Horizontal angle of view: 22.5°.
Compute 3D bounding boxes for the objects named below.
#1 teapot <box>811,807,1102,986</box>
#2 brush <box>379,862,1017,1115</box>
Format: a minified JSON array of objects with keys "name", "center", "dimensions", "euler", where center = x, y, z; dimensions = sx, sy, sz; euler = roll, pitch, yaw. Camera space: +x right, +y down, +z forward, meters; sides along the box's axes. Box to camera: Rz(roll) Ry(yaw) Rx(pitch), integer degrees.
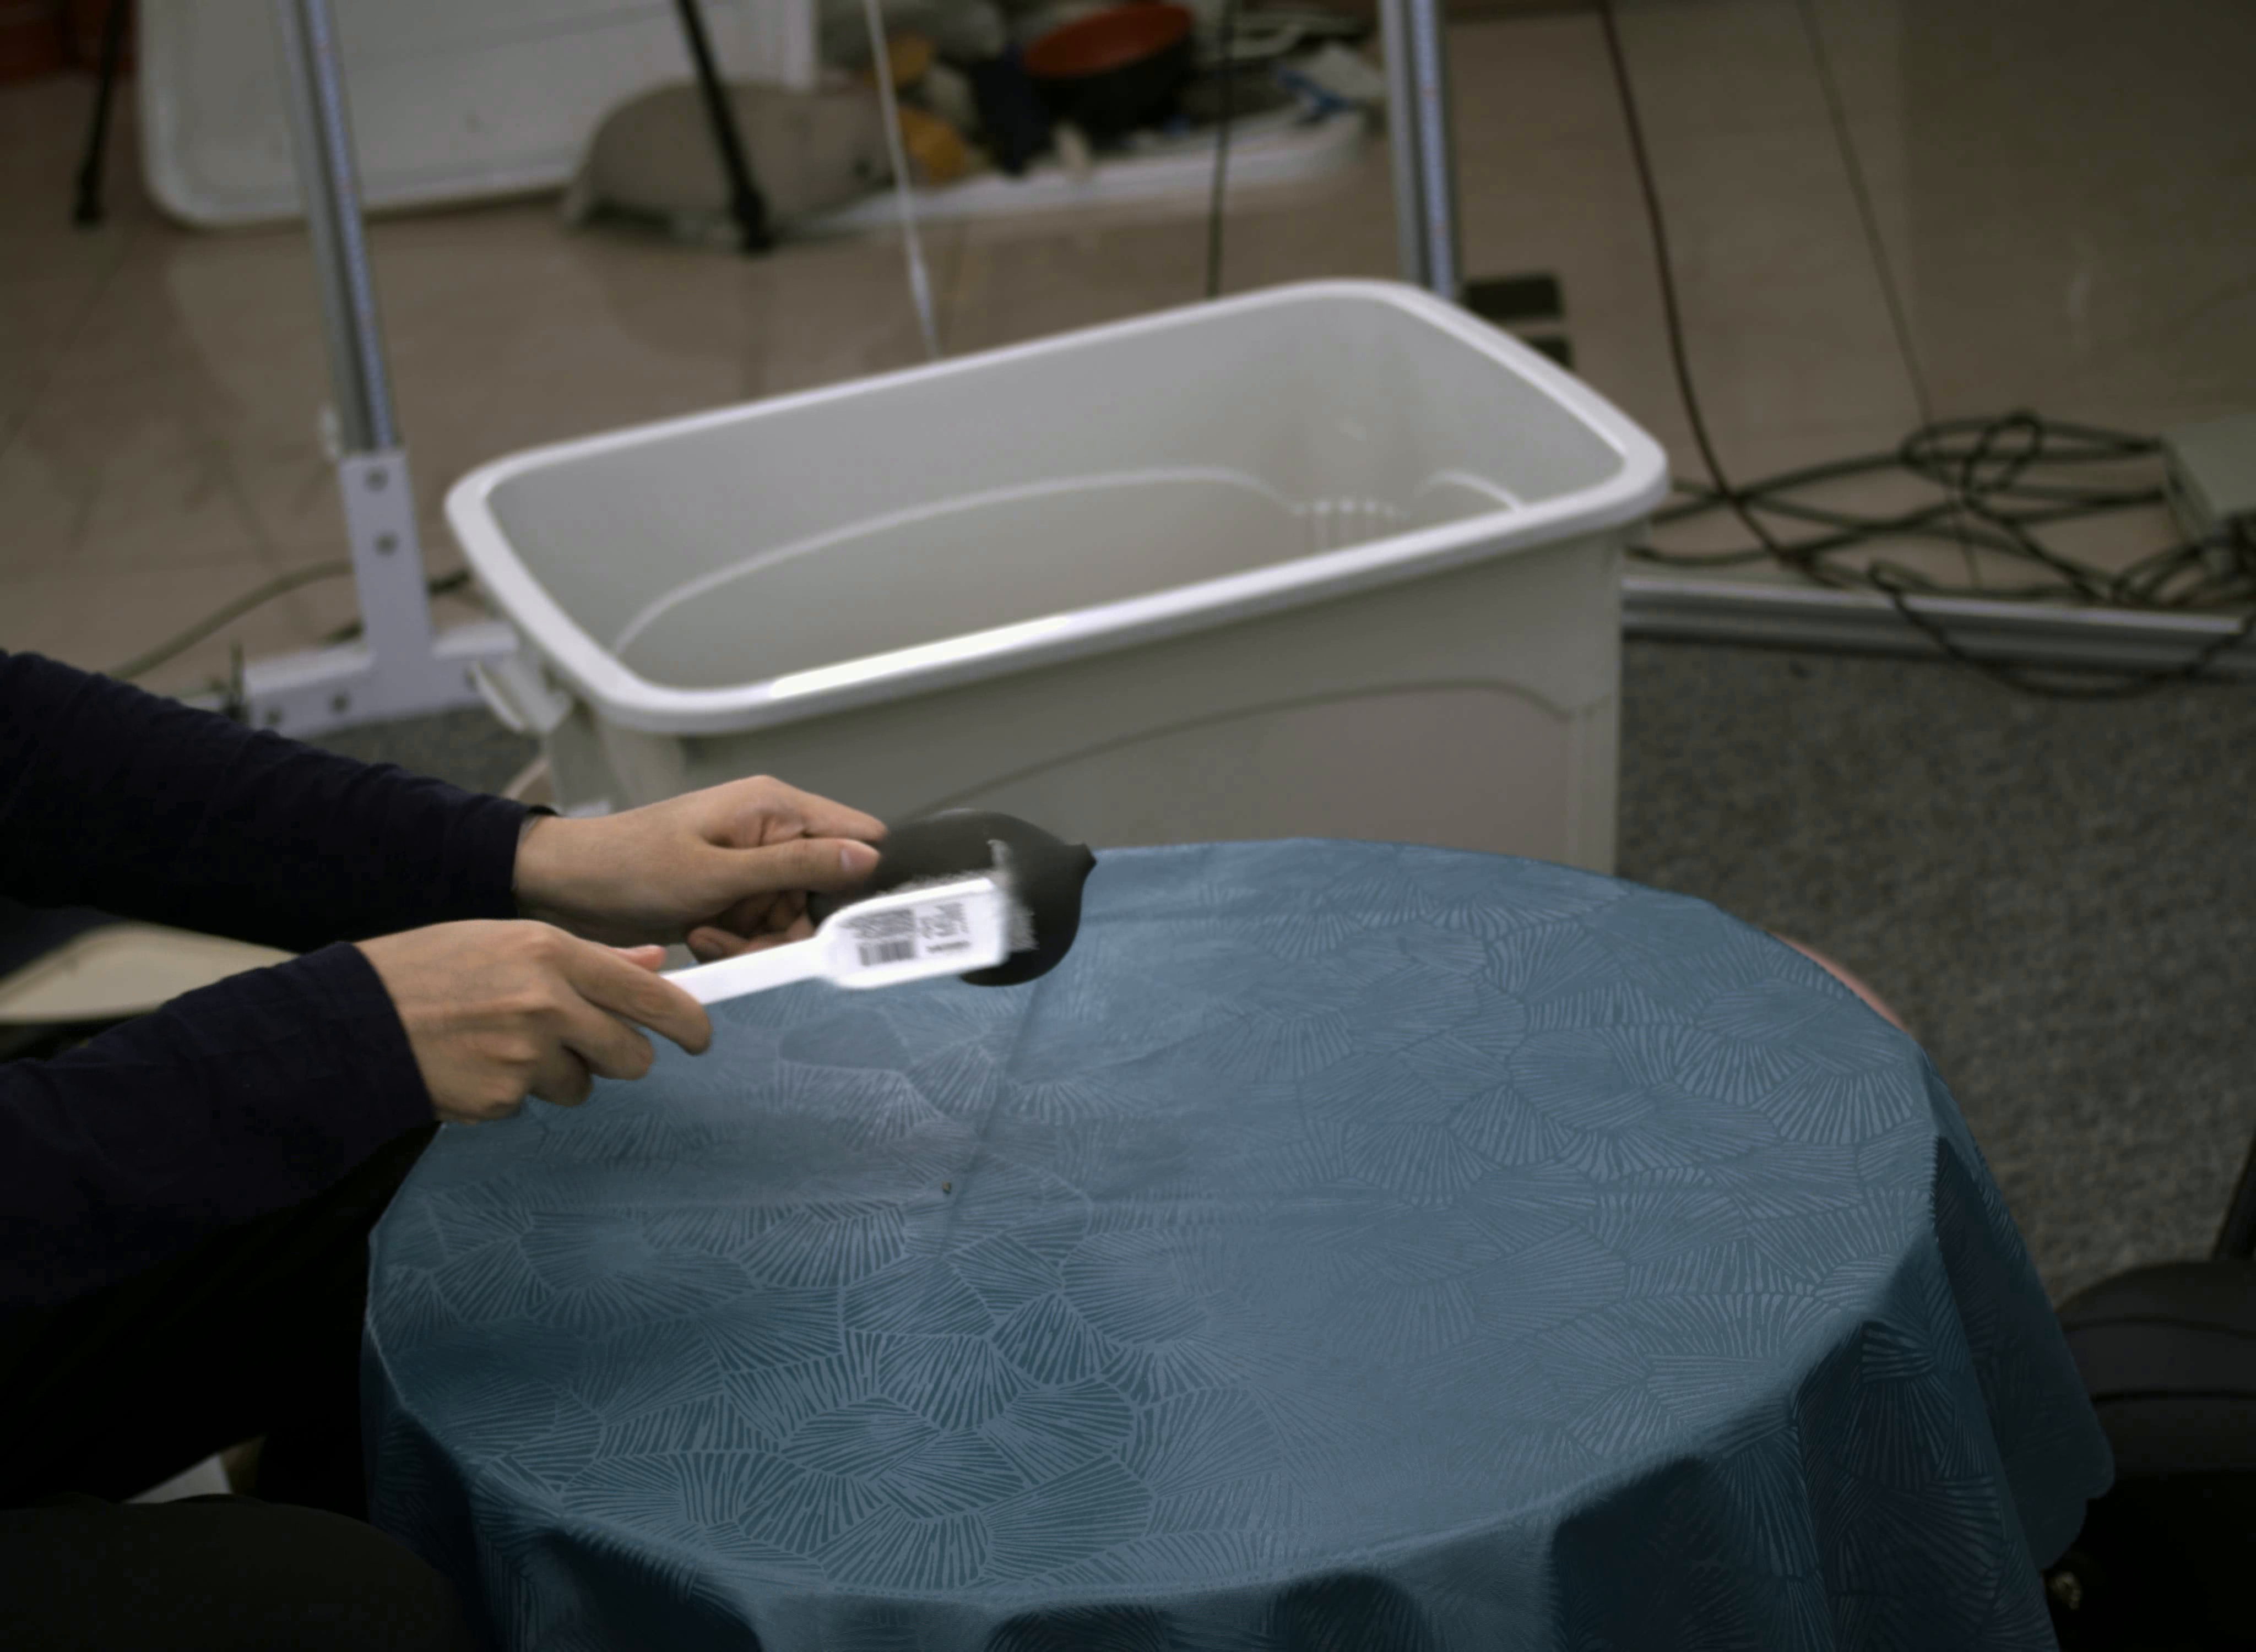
[{"name":"teapot","center":[-0.067,0.027,2.174],"dimensions":[0.114,0.084,0.052],"euler":[0,66,18]},{"name":"brush","center":[-0.160,0.061,2.110],"dimensions":[0.243,0.034,0.050],"euler":[-17,8,-2]}]
